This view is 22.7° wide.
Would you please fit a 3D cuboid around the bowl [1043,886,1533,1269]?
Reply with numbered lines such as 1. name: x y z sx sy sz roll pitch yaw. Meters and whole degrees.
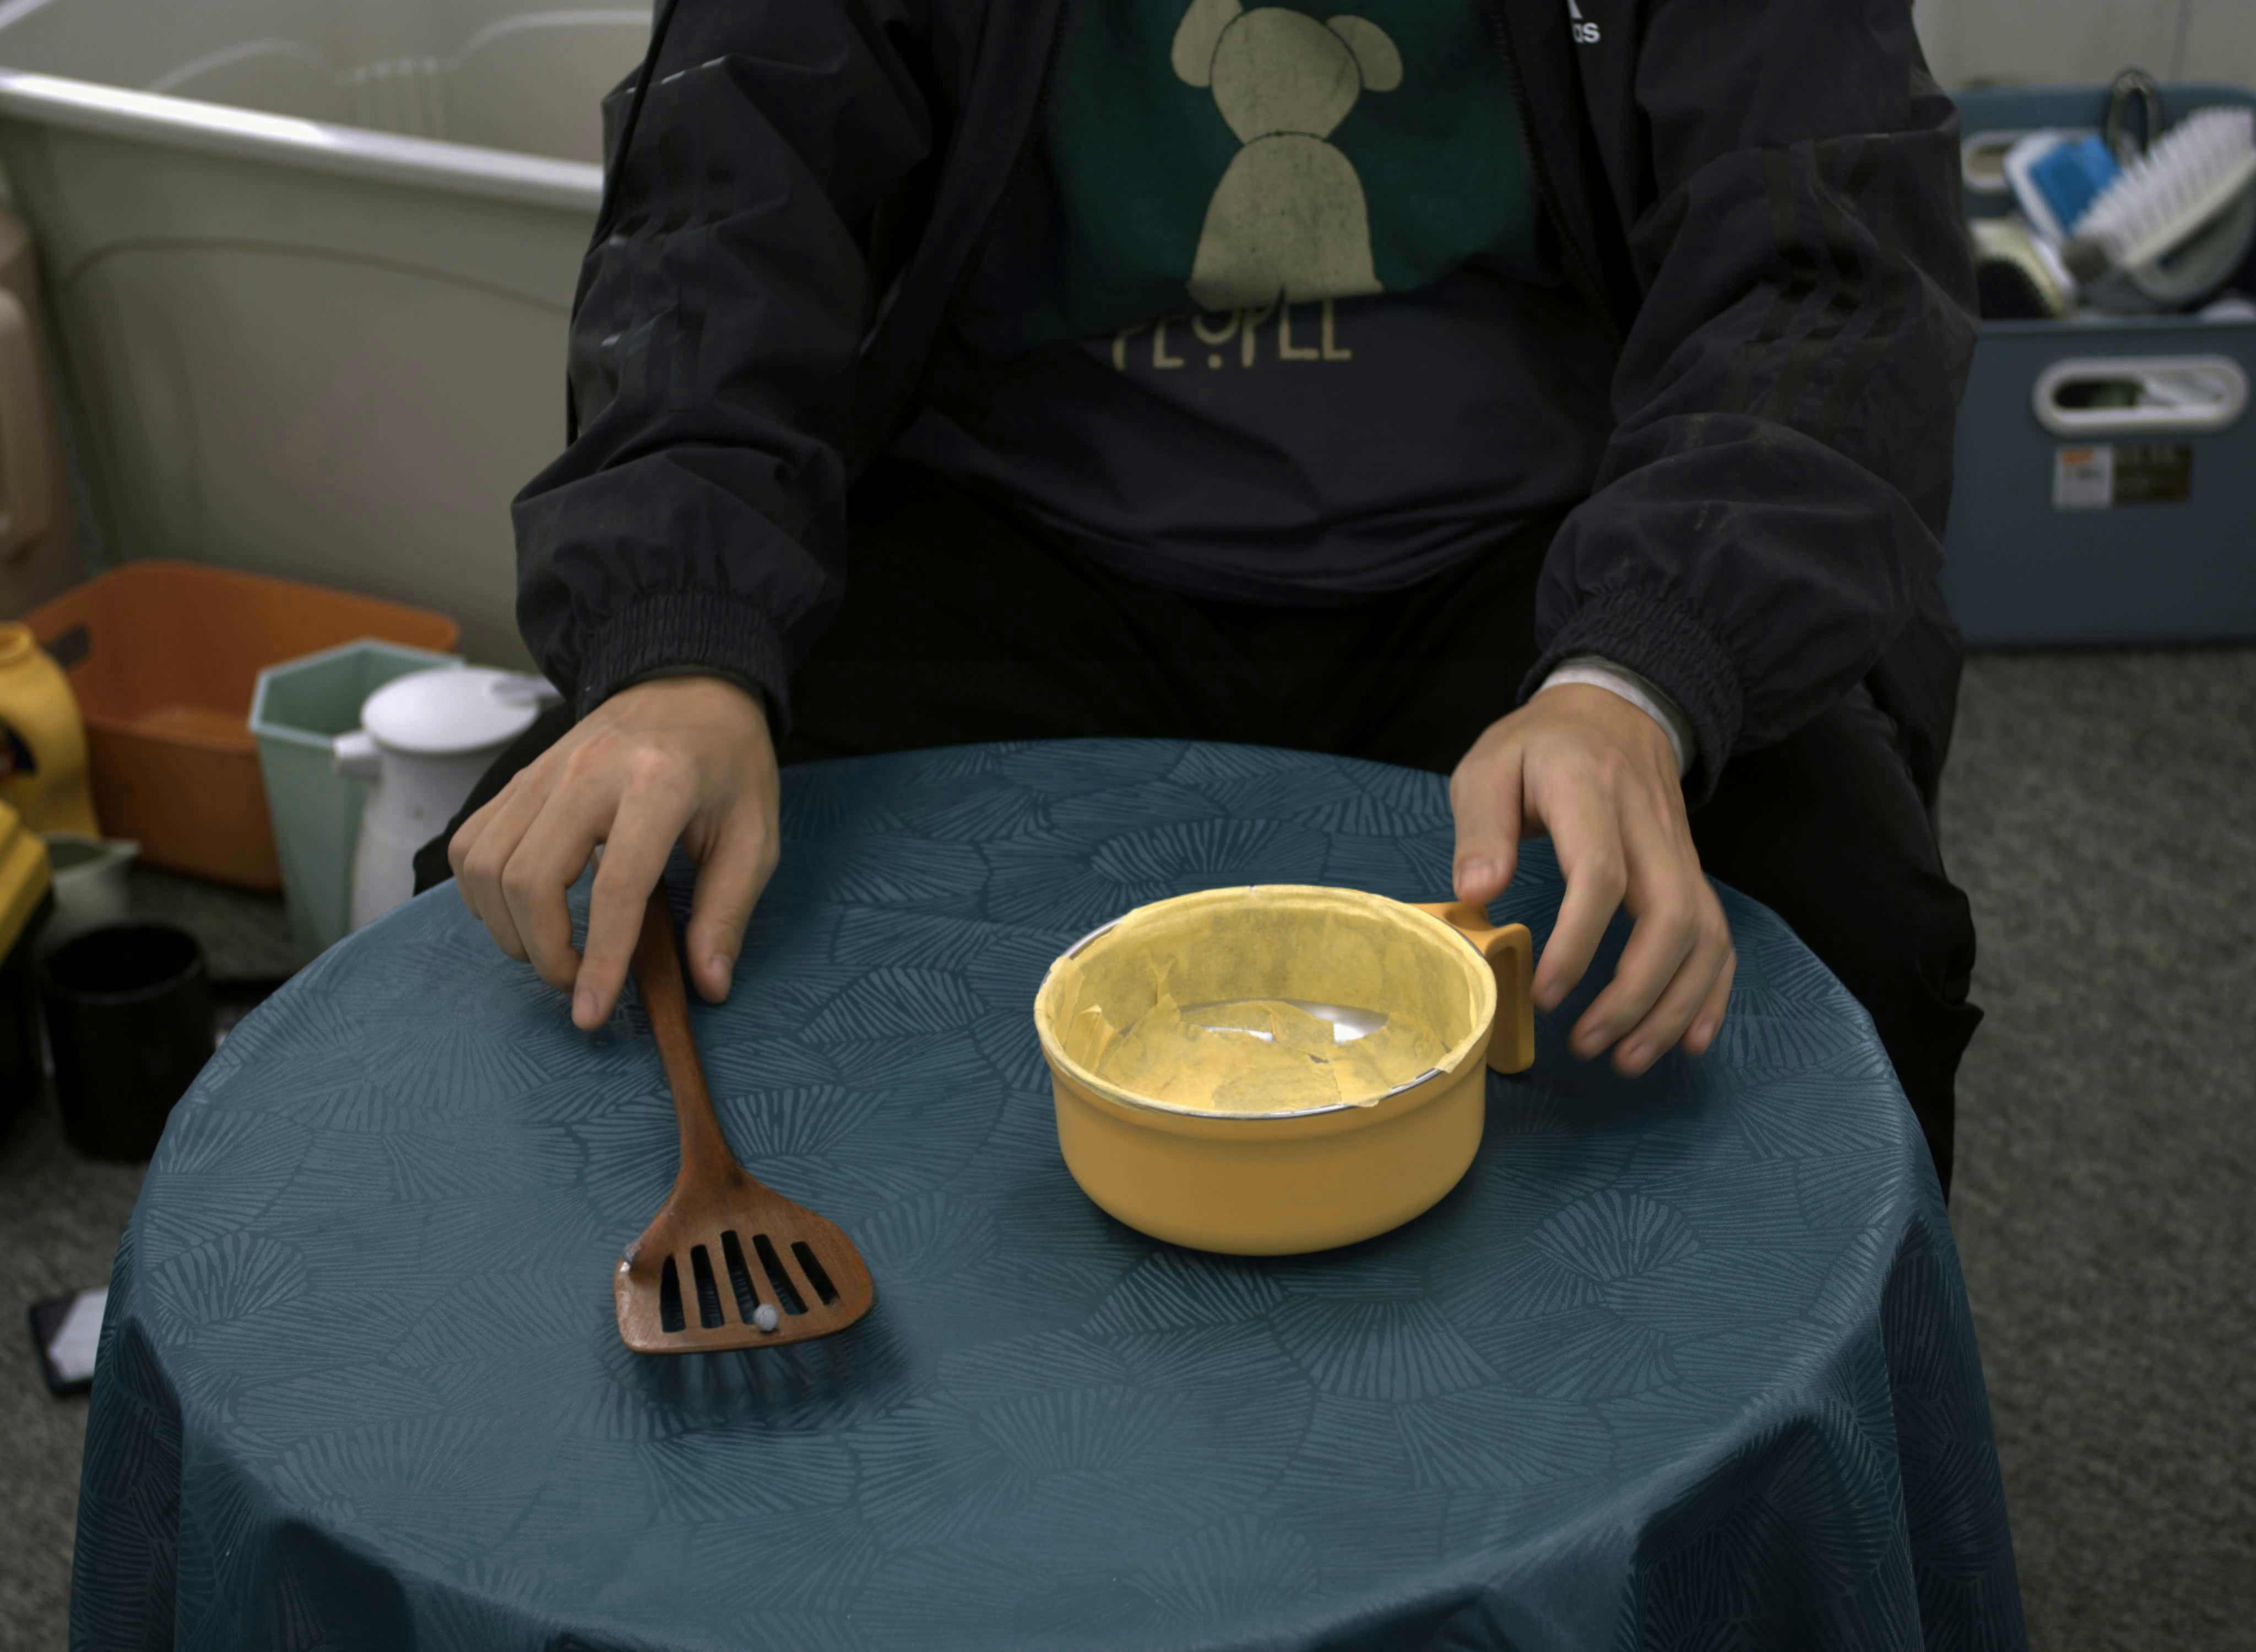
1. bowl: 0.060 0.082 1.861 0.181 0.073 0.153 -24 34 -35

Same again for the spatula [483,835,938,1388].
1. spatula: -0.162 0.096 1.916 0.085 0.024 0.390 -4 28 -21
